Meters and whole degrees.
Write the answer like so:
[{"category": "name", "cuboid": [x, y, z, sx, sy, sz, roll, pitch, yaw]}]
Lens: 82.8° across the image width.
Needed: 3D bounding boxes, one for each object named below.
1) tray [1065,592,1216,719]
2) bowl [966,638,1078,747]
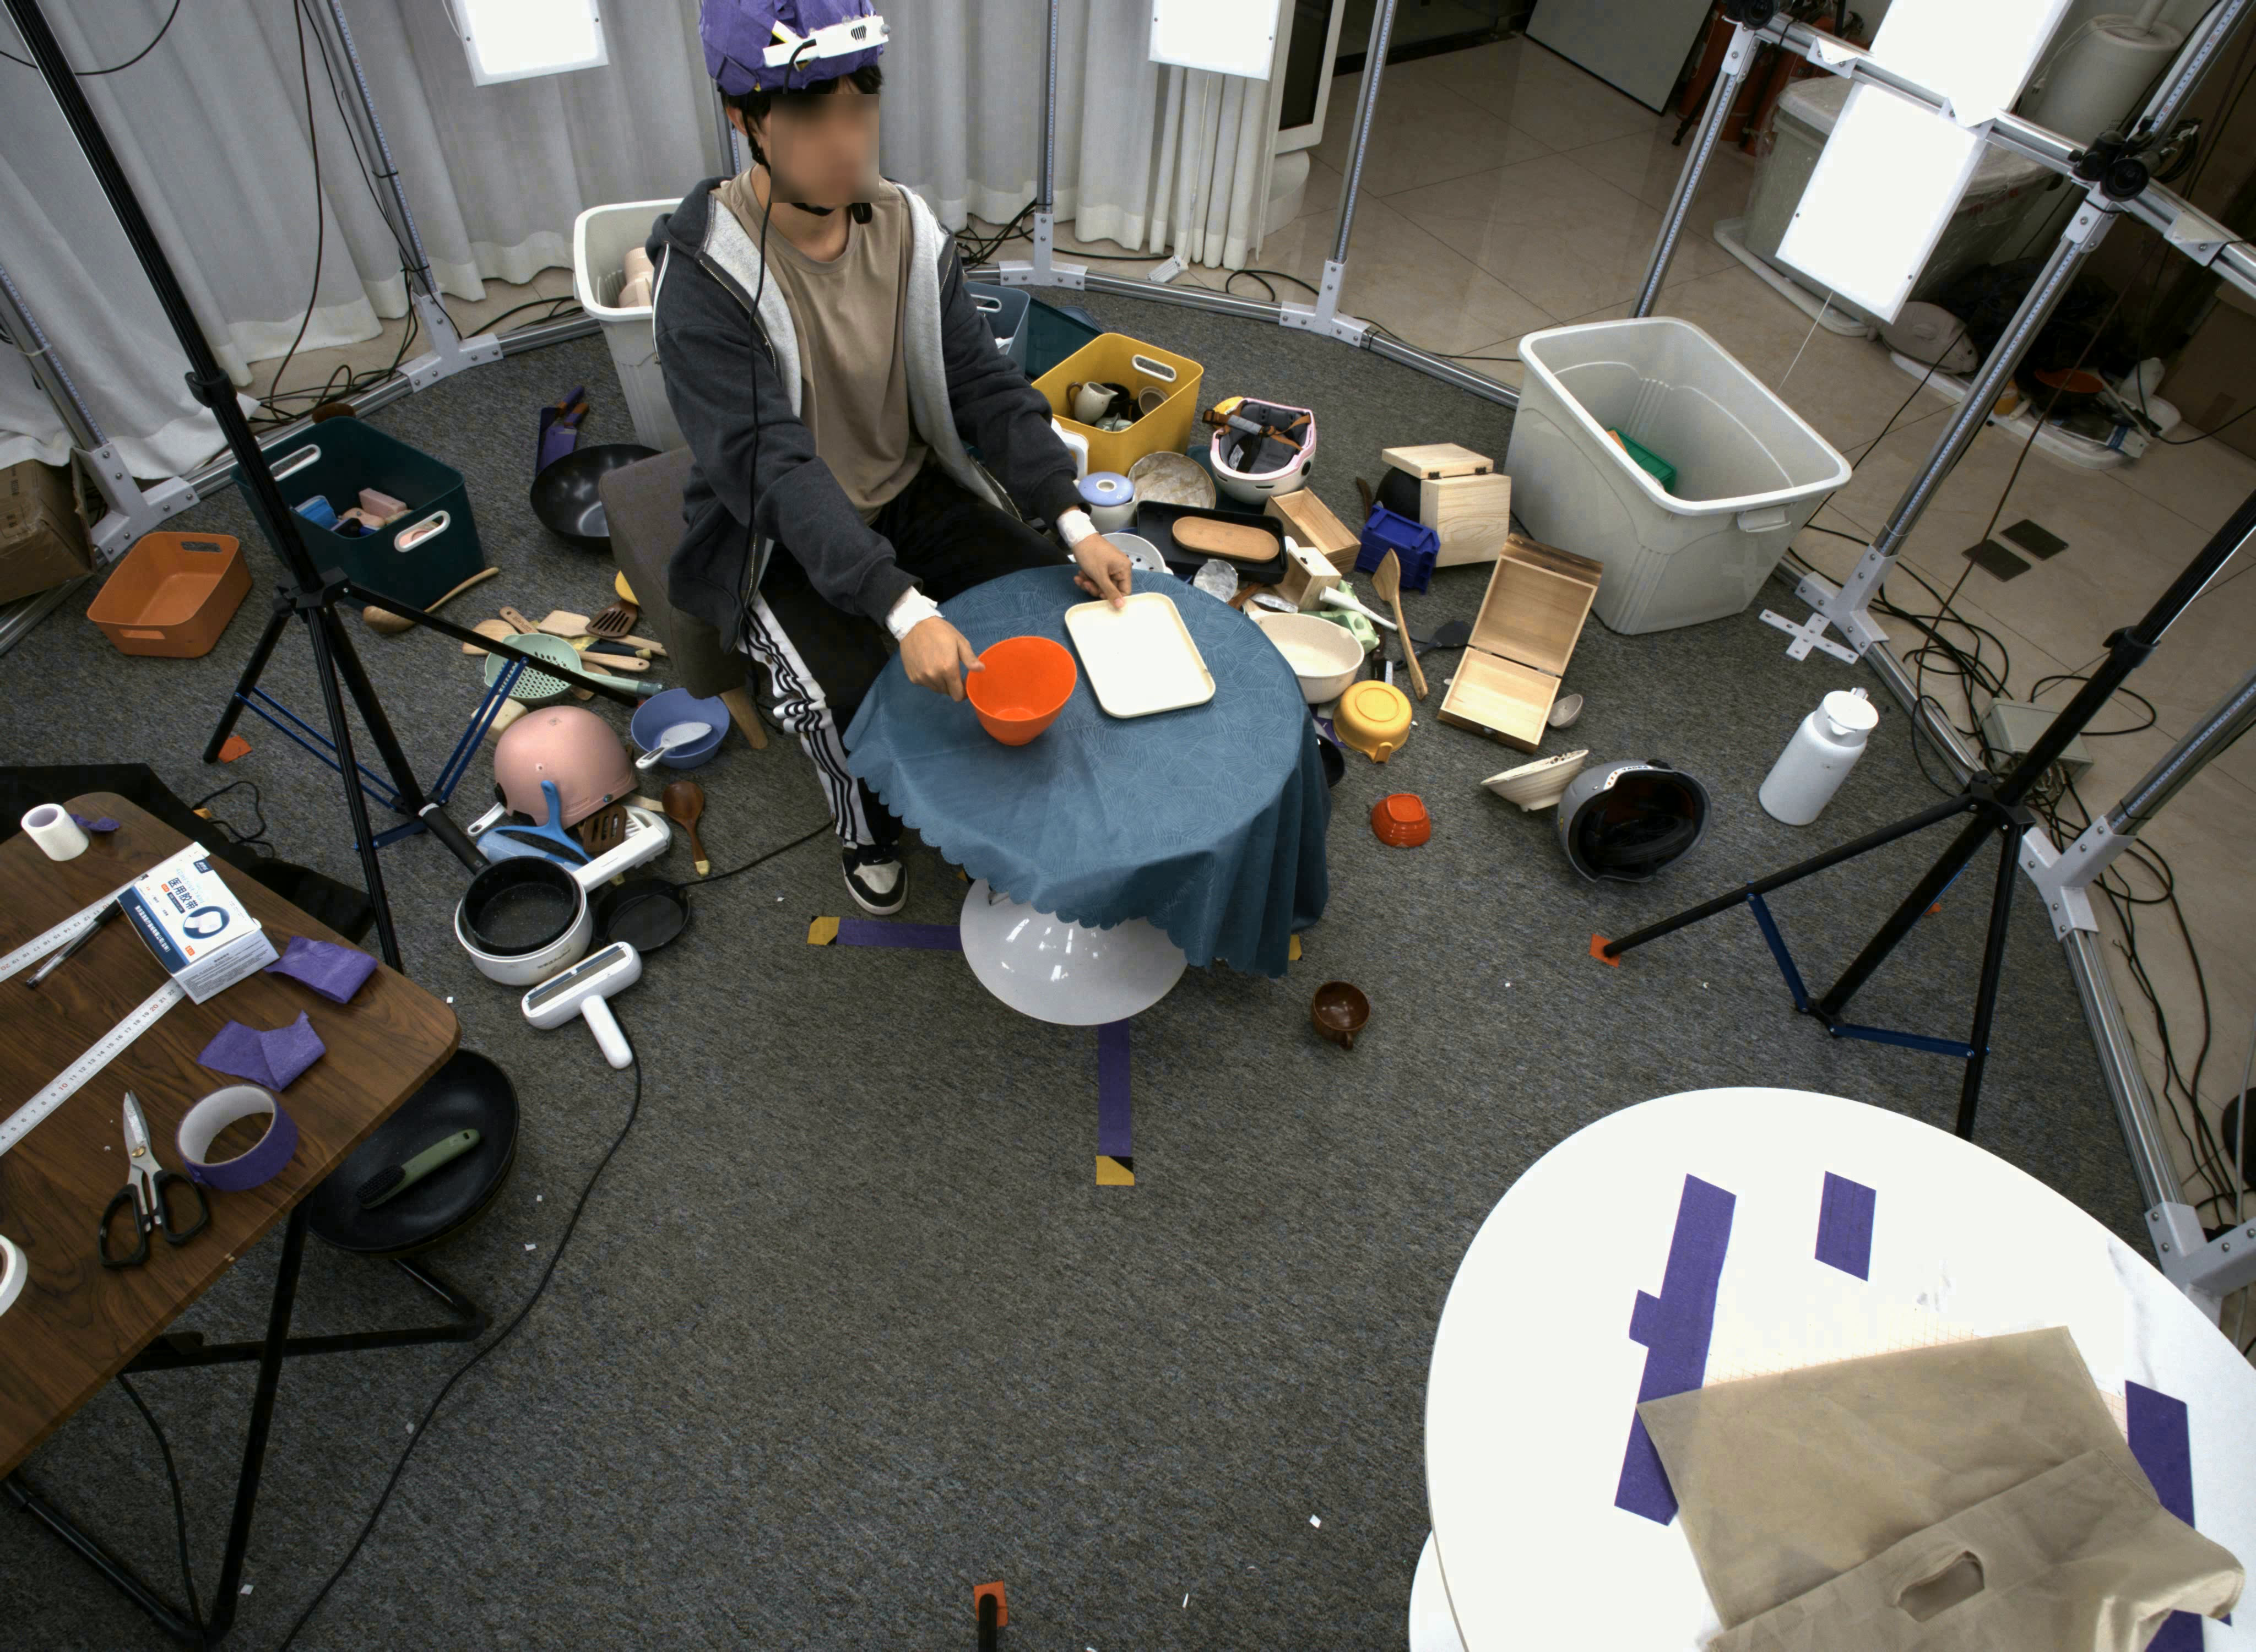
[{"category": "tray", "cuboid": [0.016, -0.250, 1.874, 0.171, 0.017, 0.245, -12, 51, -13]}, {"category": "bowl", "cuboid": [-0.144, -0.170, 1.739, 0.148, 0.102, 0.152, 3, 50, -3]}]
